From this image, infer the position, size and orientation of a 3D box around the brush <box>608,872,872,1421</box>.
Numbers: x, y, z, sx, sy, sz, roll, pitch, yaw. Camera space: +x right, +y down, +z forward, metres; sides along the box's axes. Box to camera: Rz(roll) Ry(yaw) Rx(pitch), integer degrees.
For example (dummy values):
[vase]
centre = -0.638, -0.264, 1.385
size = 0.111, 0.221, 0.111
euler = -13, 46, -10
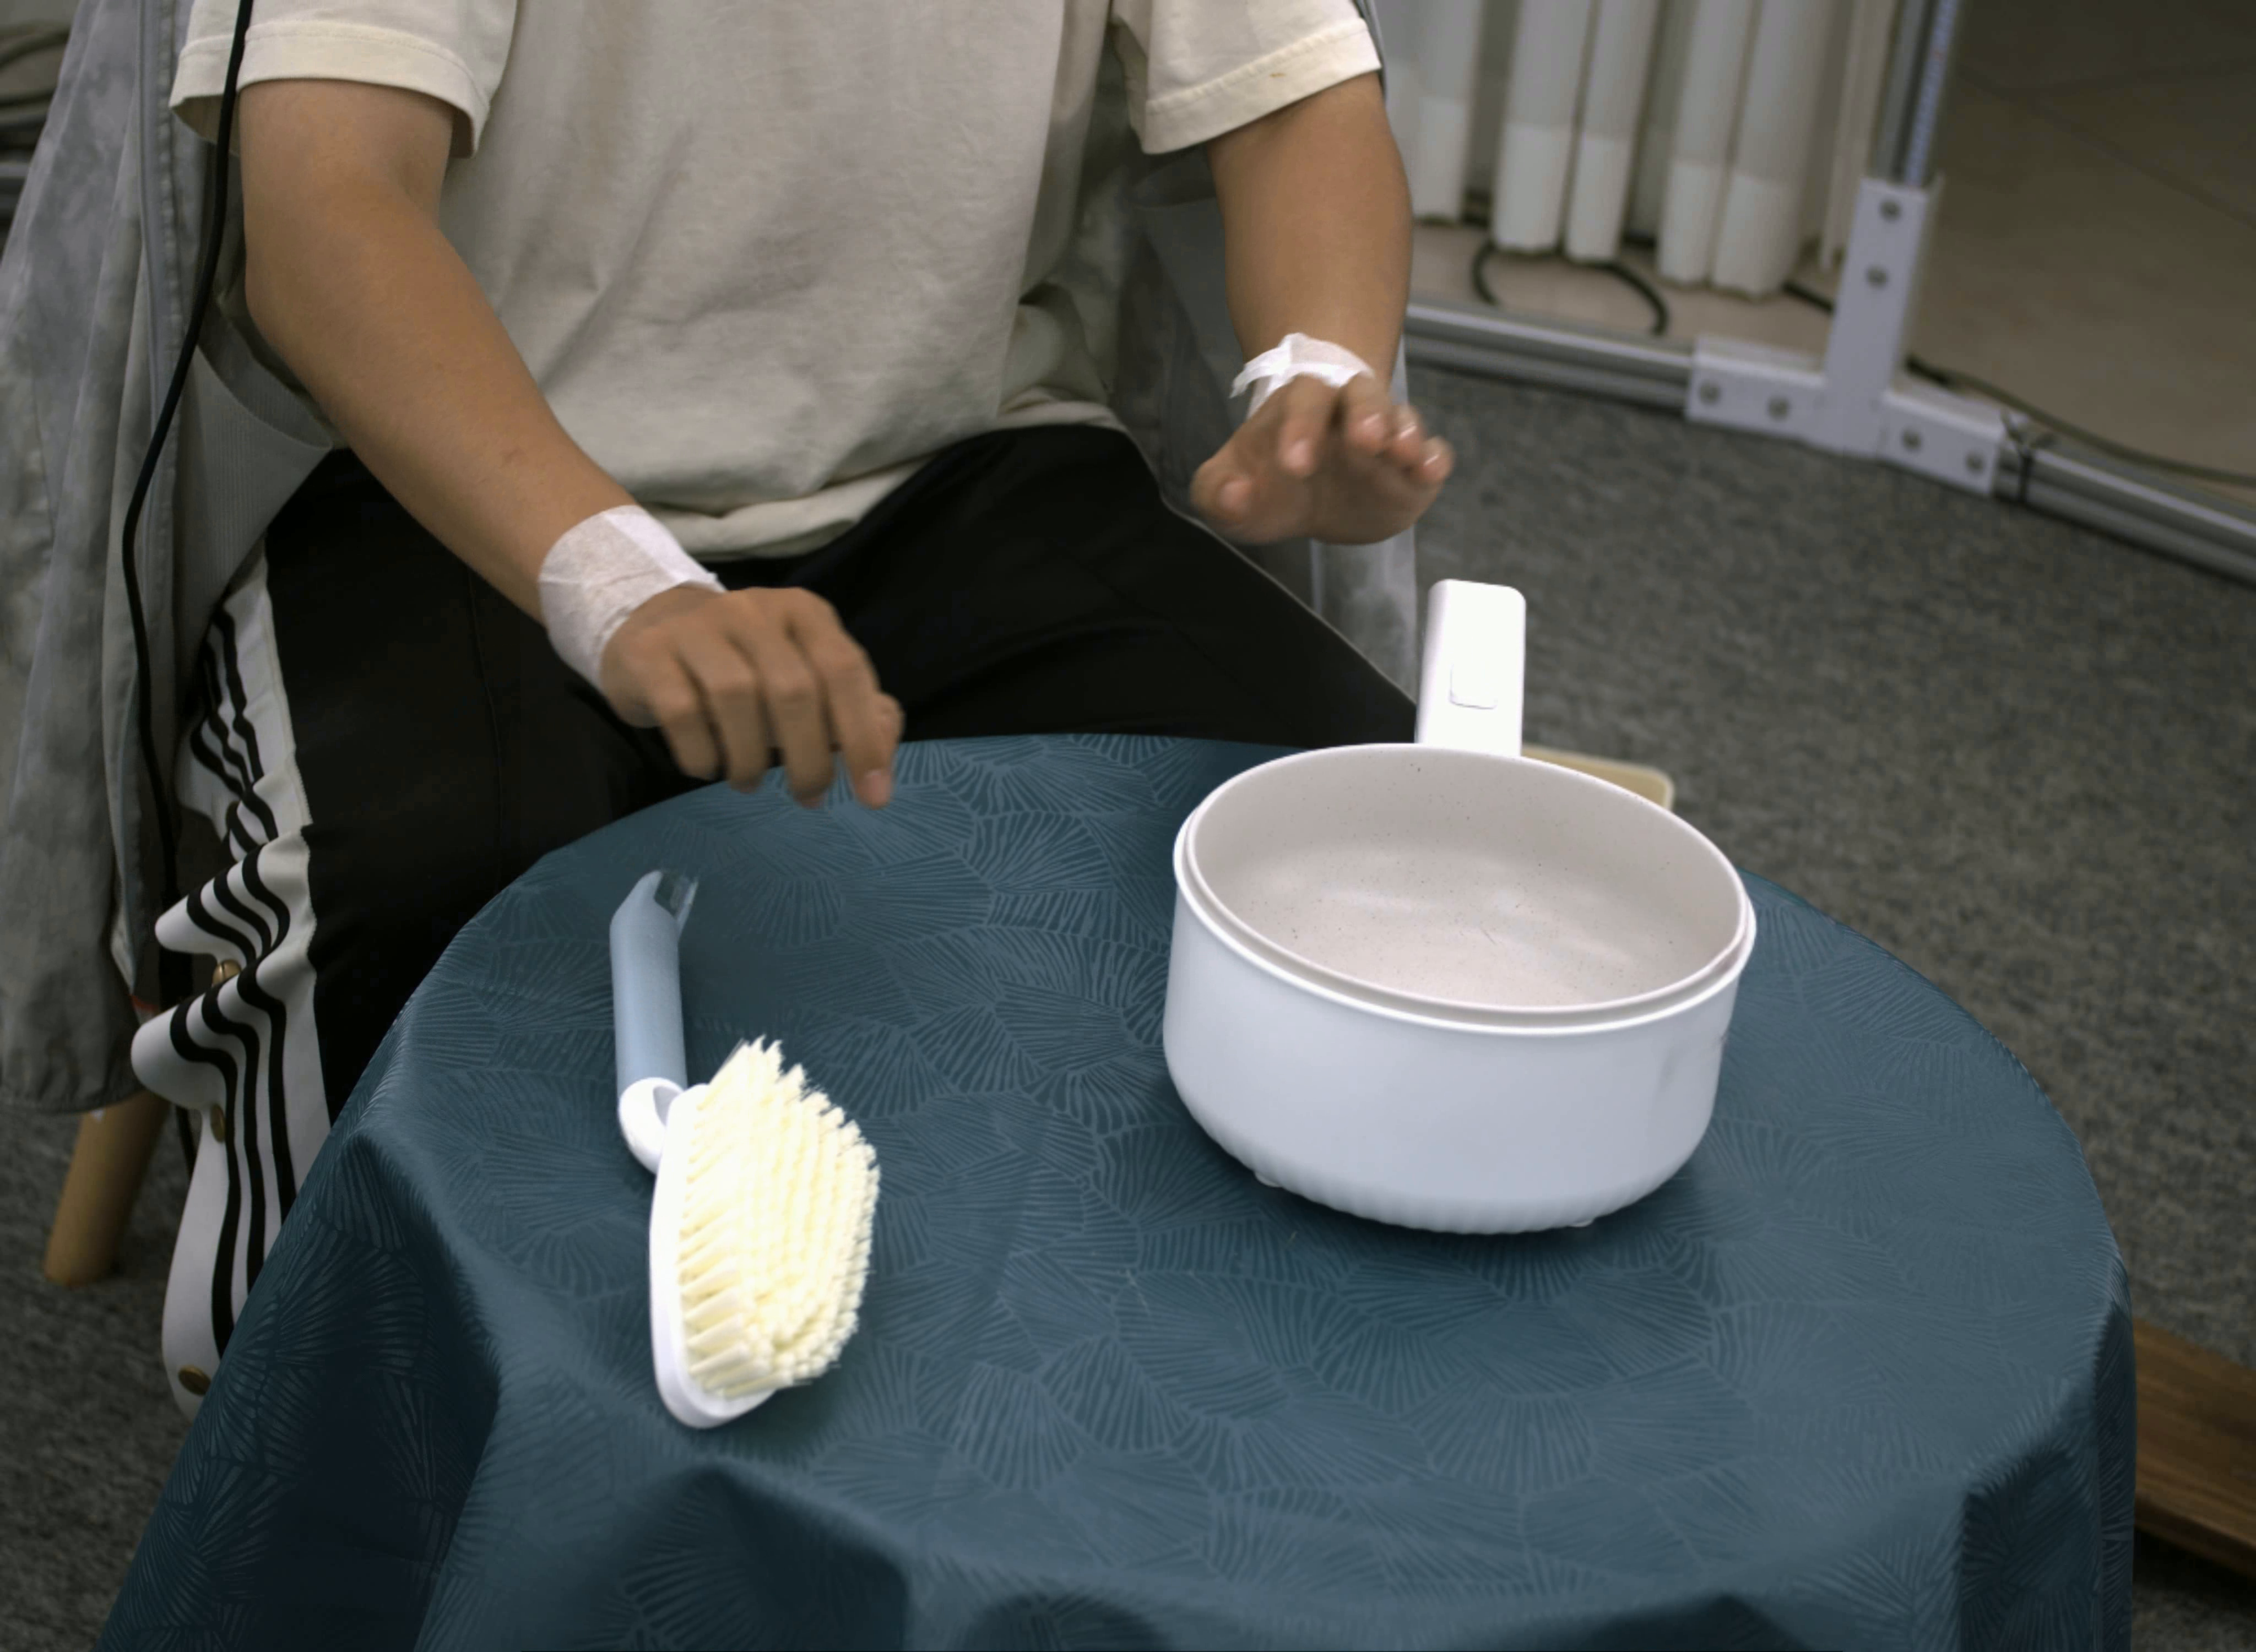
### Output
[brush]
centre = -0.131, 0.080, 1.769
size = 0.084, 0.083, 0.328
euler = -4, 29, -4

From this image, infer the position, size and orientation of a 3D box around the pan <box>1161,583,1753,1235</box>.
[pan]
centre = 0.116, 0.026, 1.913
size = 0.201, 0.102, 0.356
euler = 7, 26, 2
